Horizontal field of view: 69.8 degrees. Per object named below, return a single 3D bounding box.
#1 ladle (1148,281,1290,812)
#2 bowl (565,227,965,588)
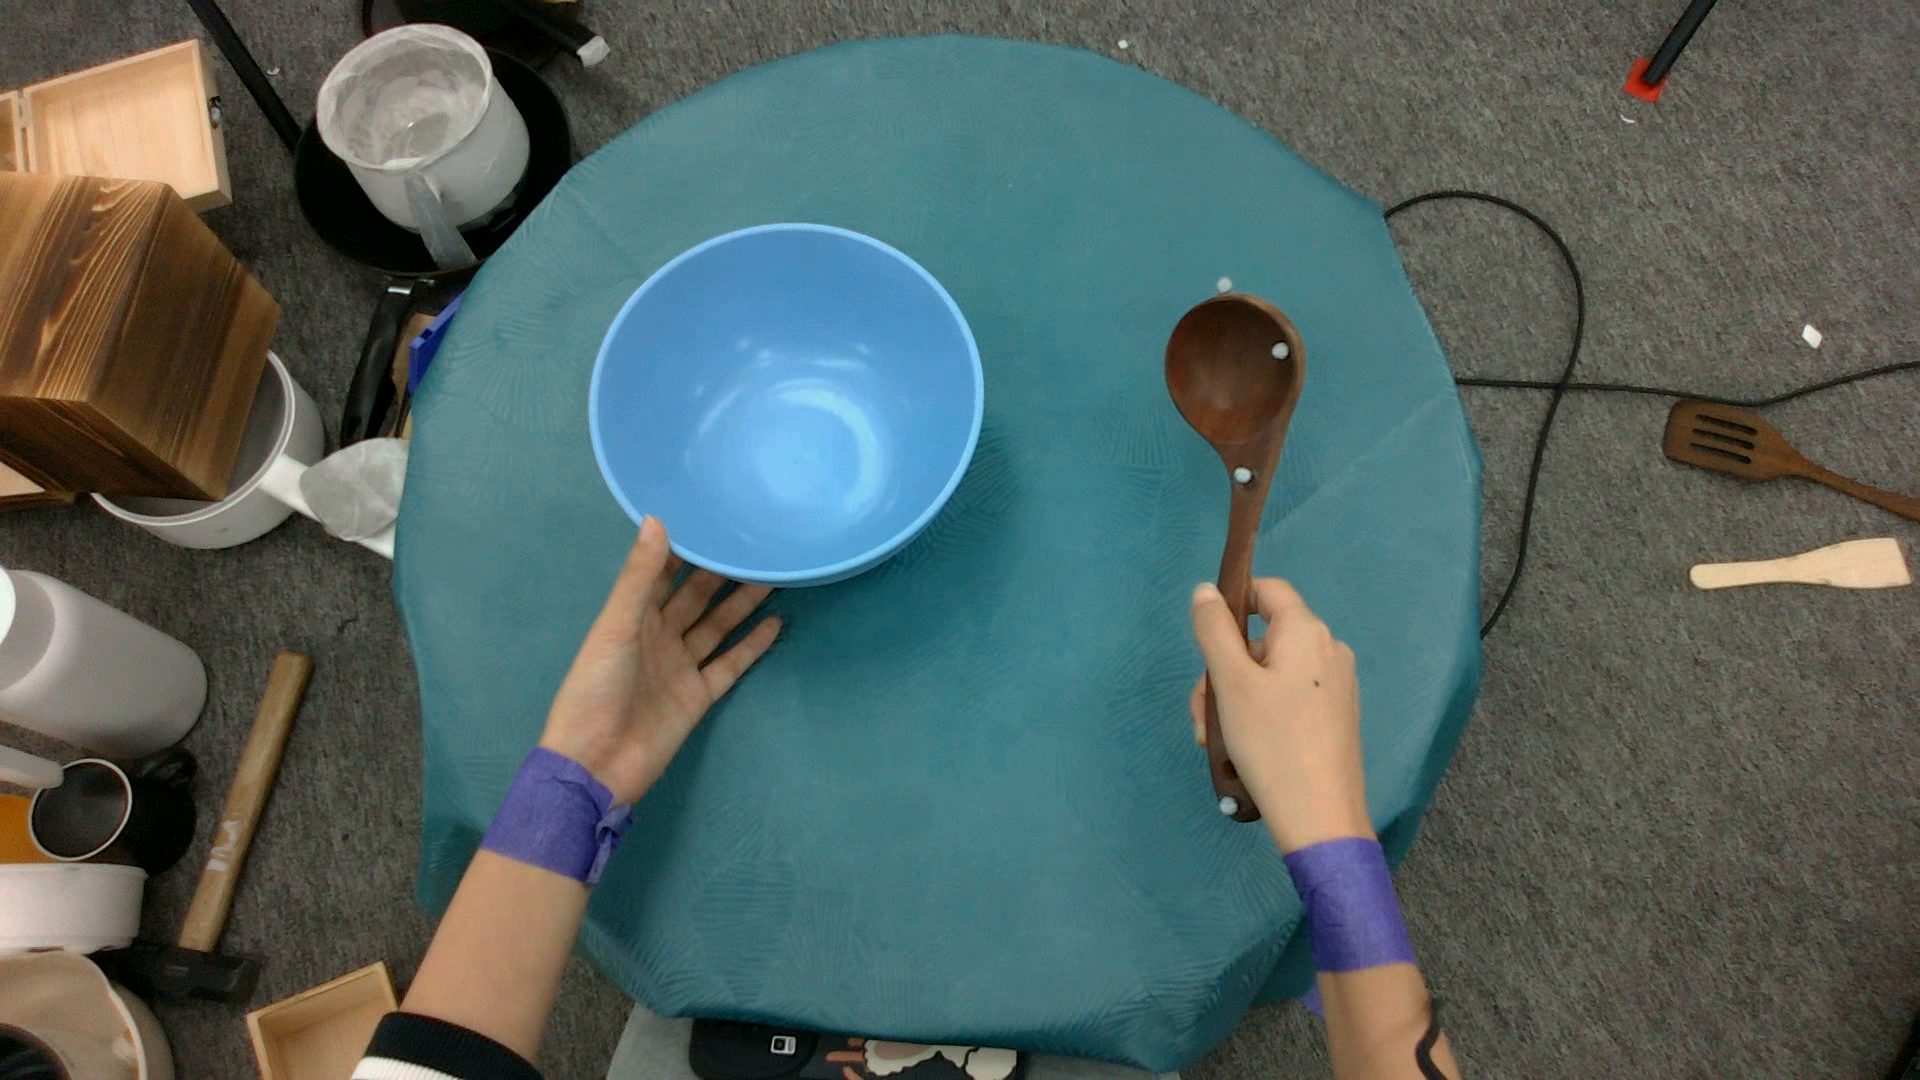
[{"bbox_3d":[0.119,-0.005,0.652,0.065,0.076,0.261,27,58,-34],"label":"ladle"},{"bbox_3d":[-0.100,-0.056,0.723,0.196,0.095,0.197,2,67,-6],"label":"bowl"}]
